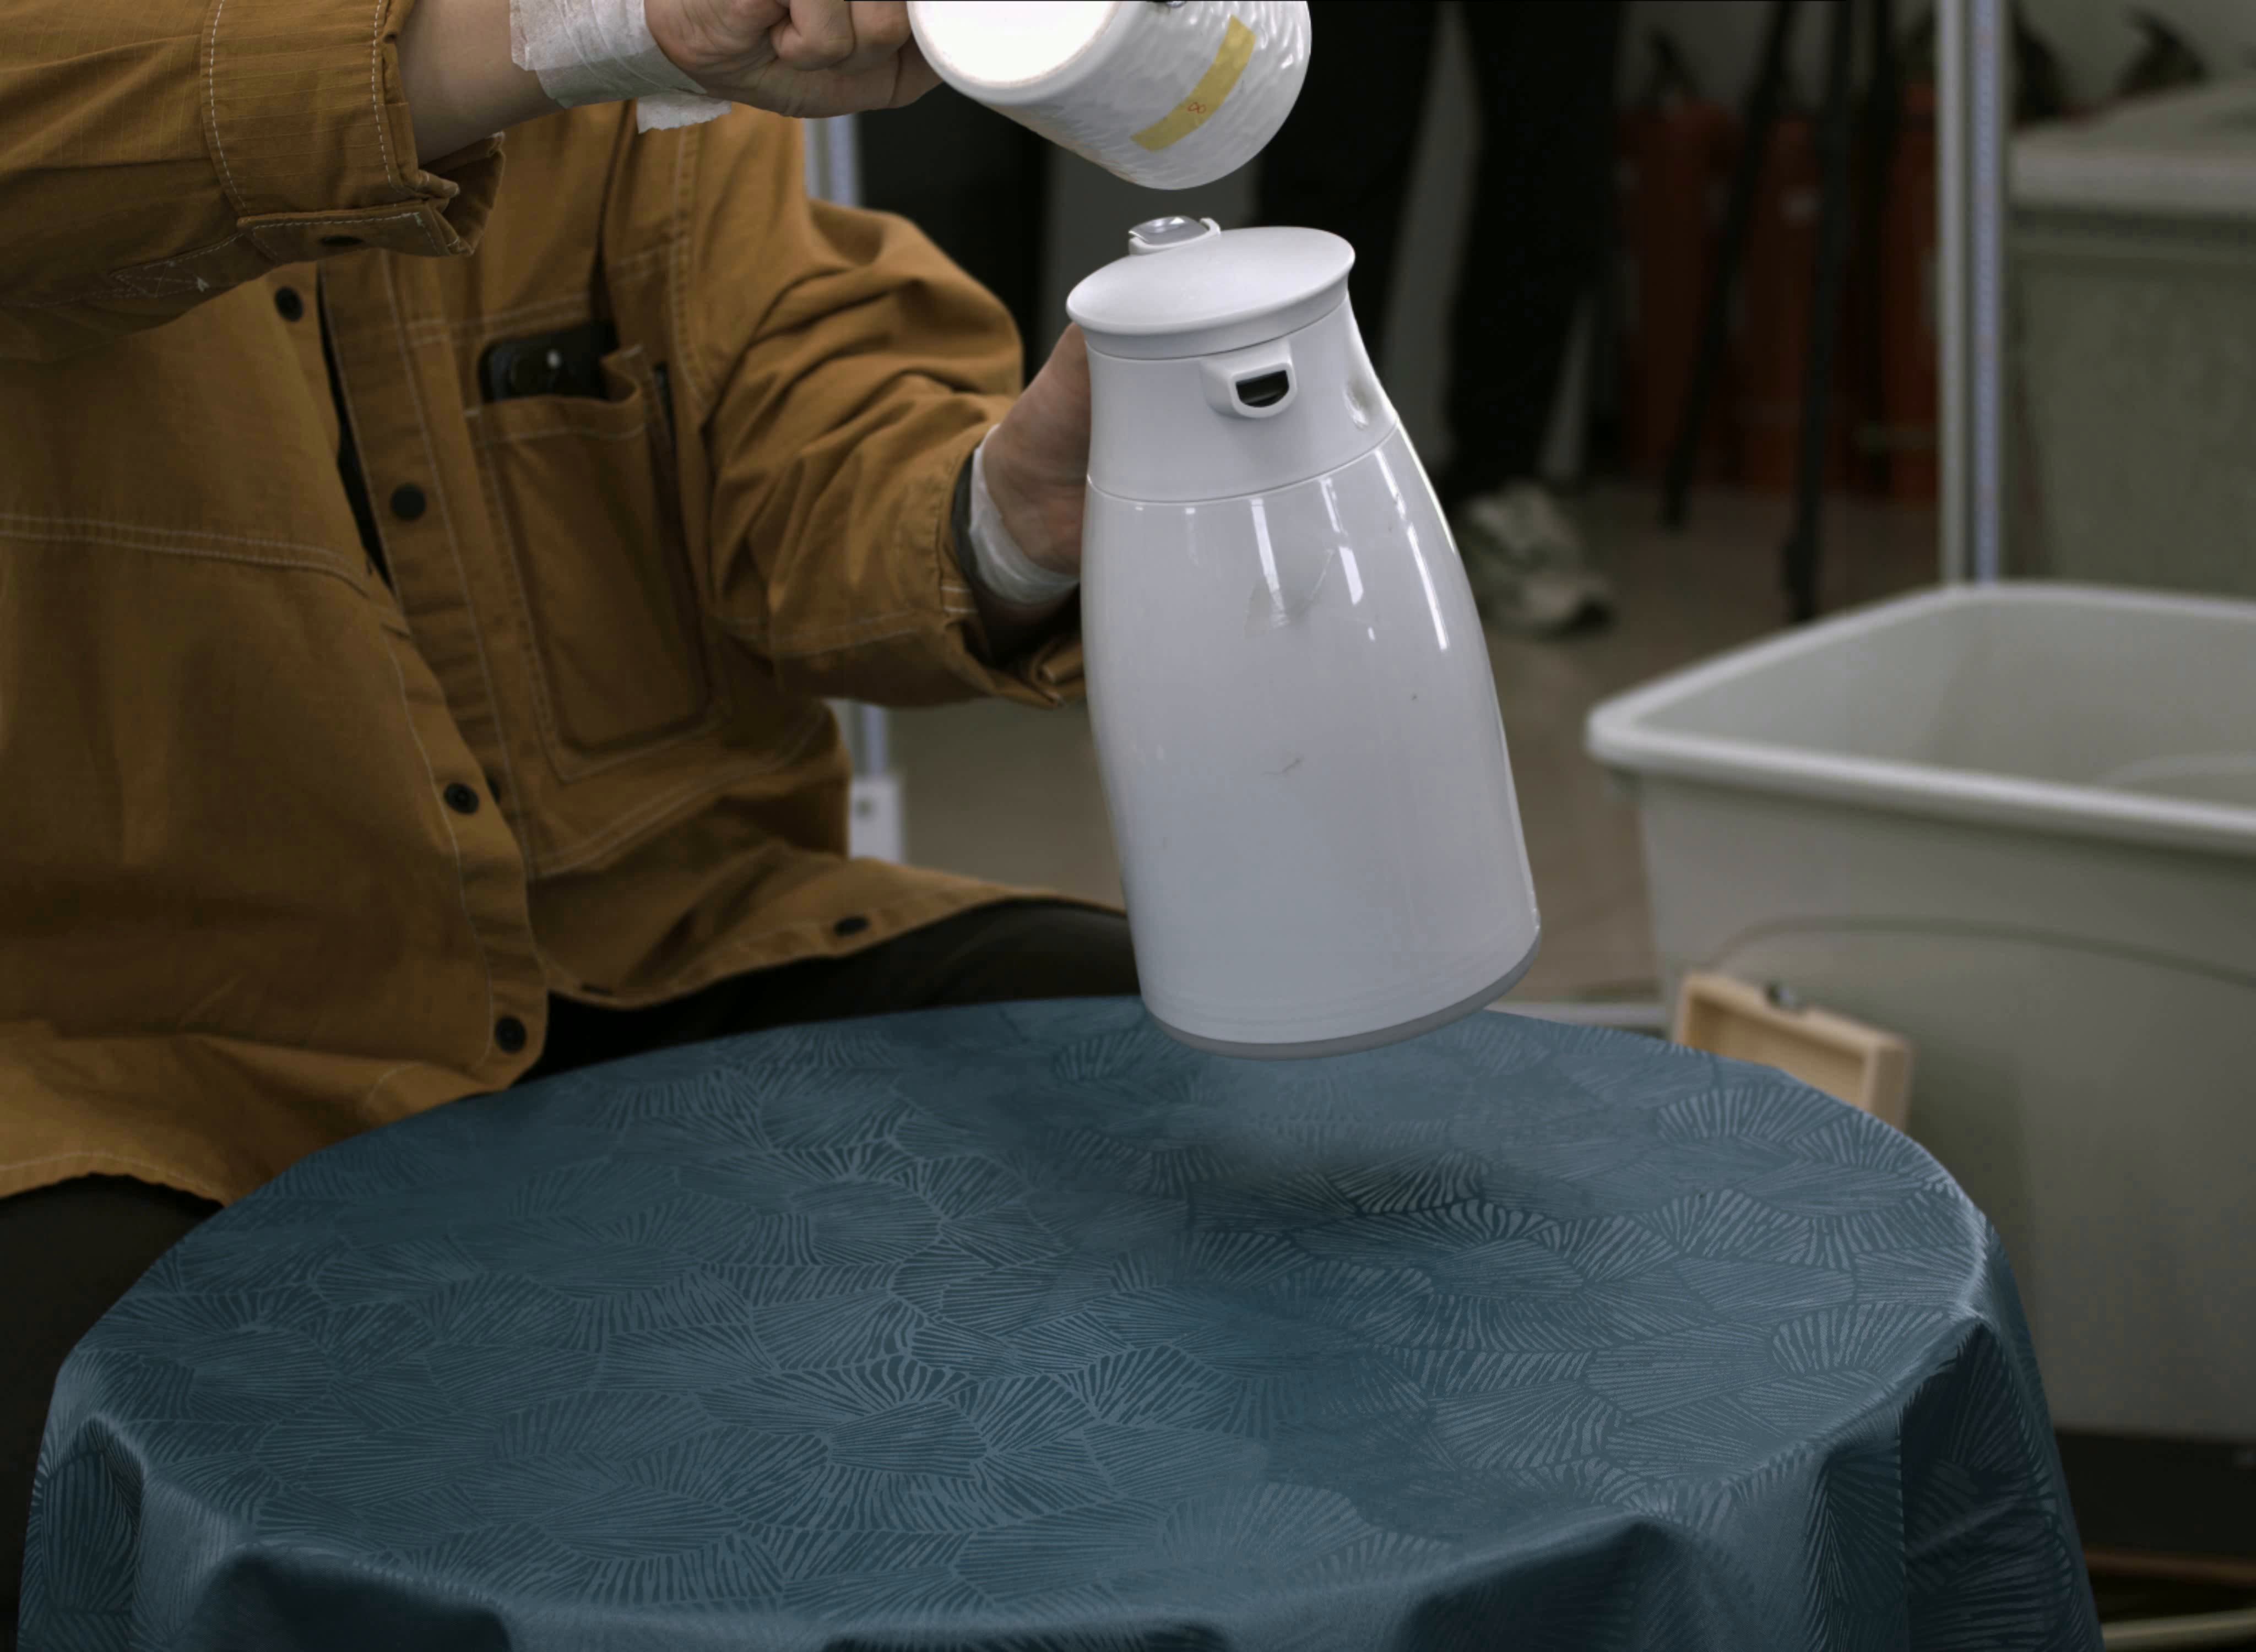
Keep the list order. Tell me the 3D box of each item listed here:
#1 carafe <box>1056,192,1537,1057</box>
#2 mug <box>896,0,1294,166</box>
[{"bbox_3d":[0.039,-0.074,1.720,0.130,0.250,0.169,-16,21,-7],"label":"carafe"},{"bbox_3d":[-0.024,-0.253,1.596,0.119,0.086,0.100,21,2,32],"label":"mug"}]
